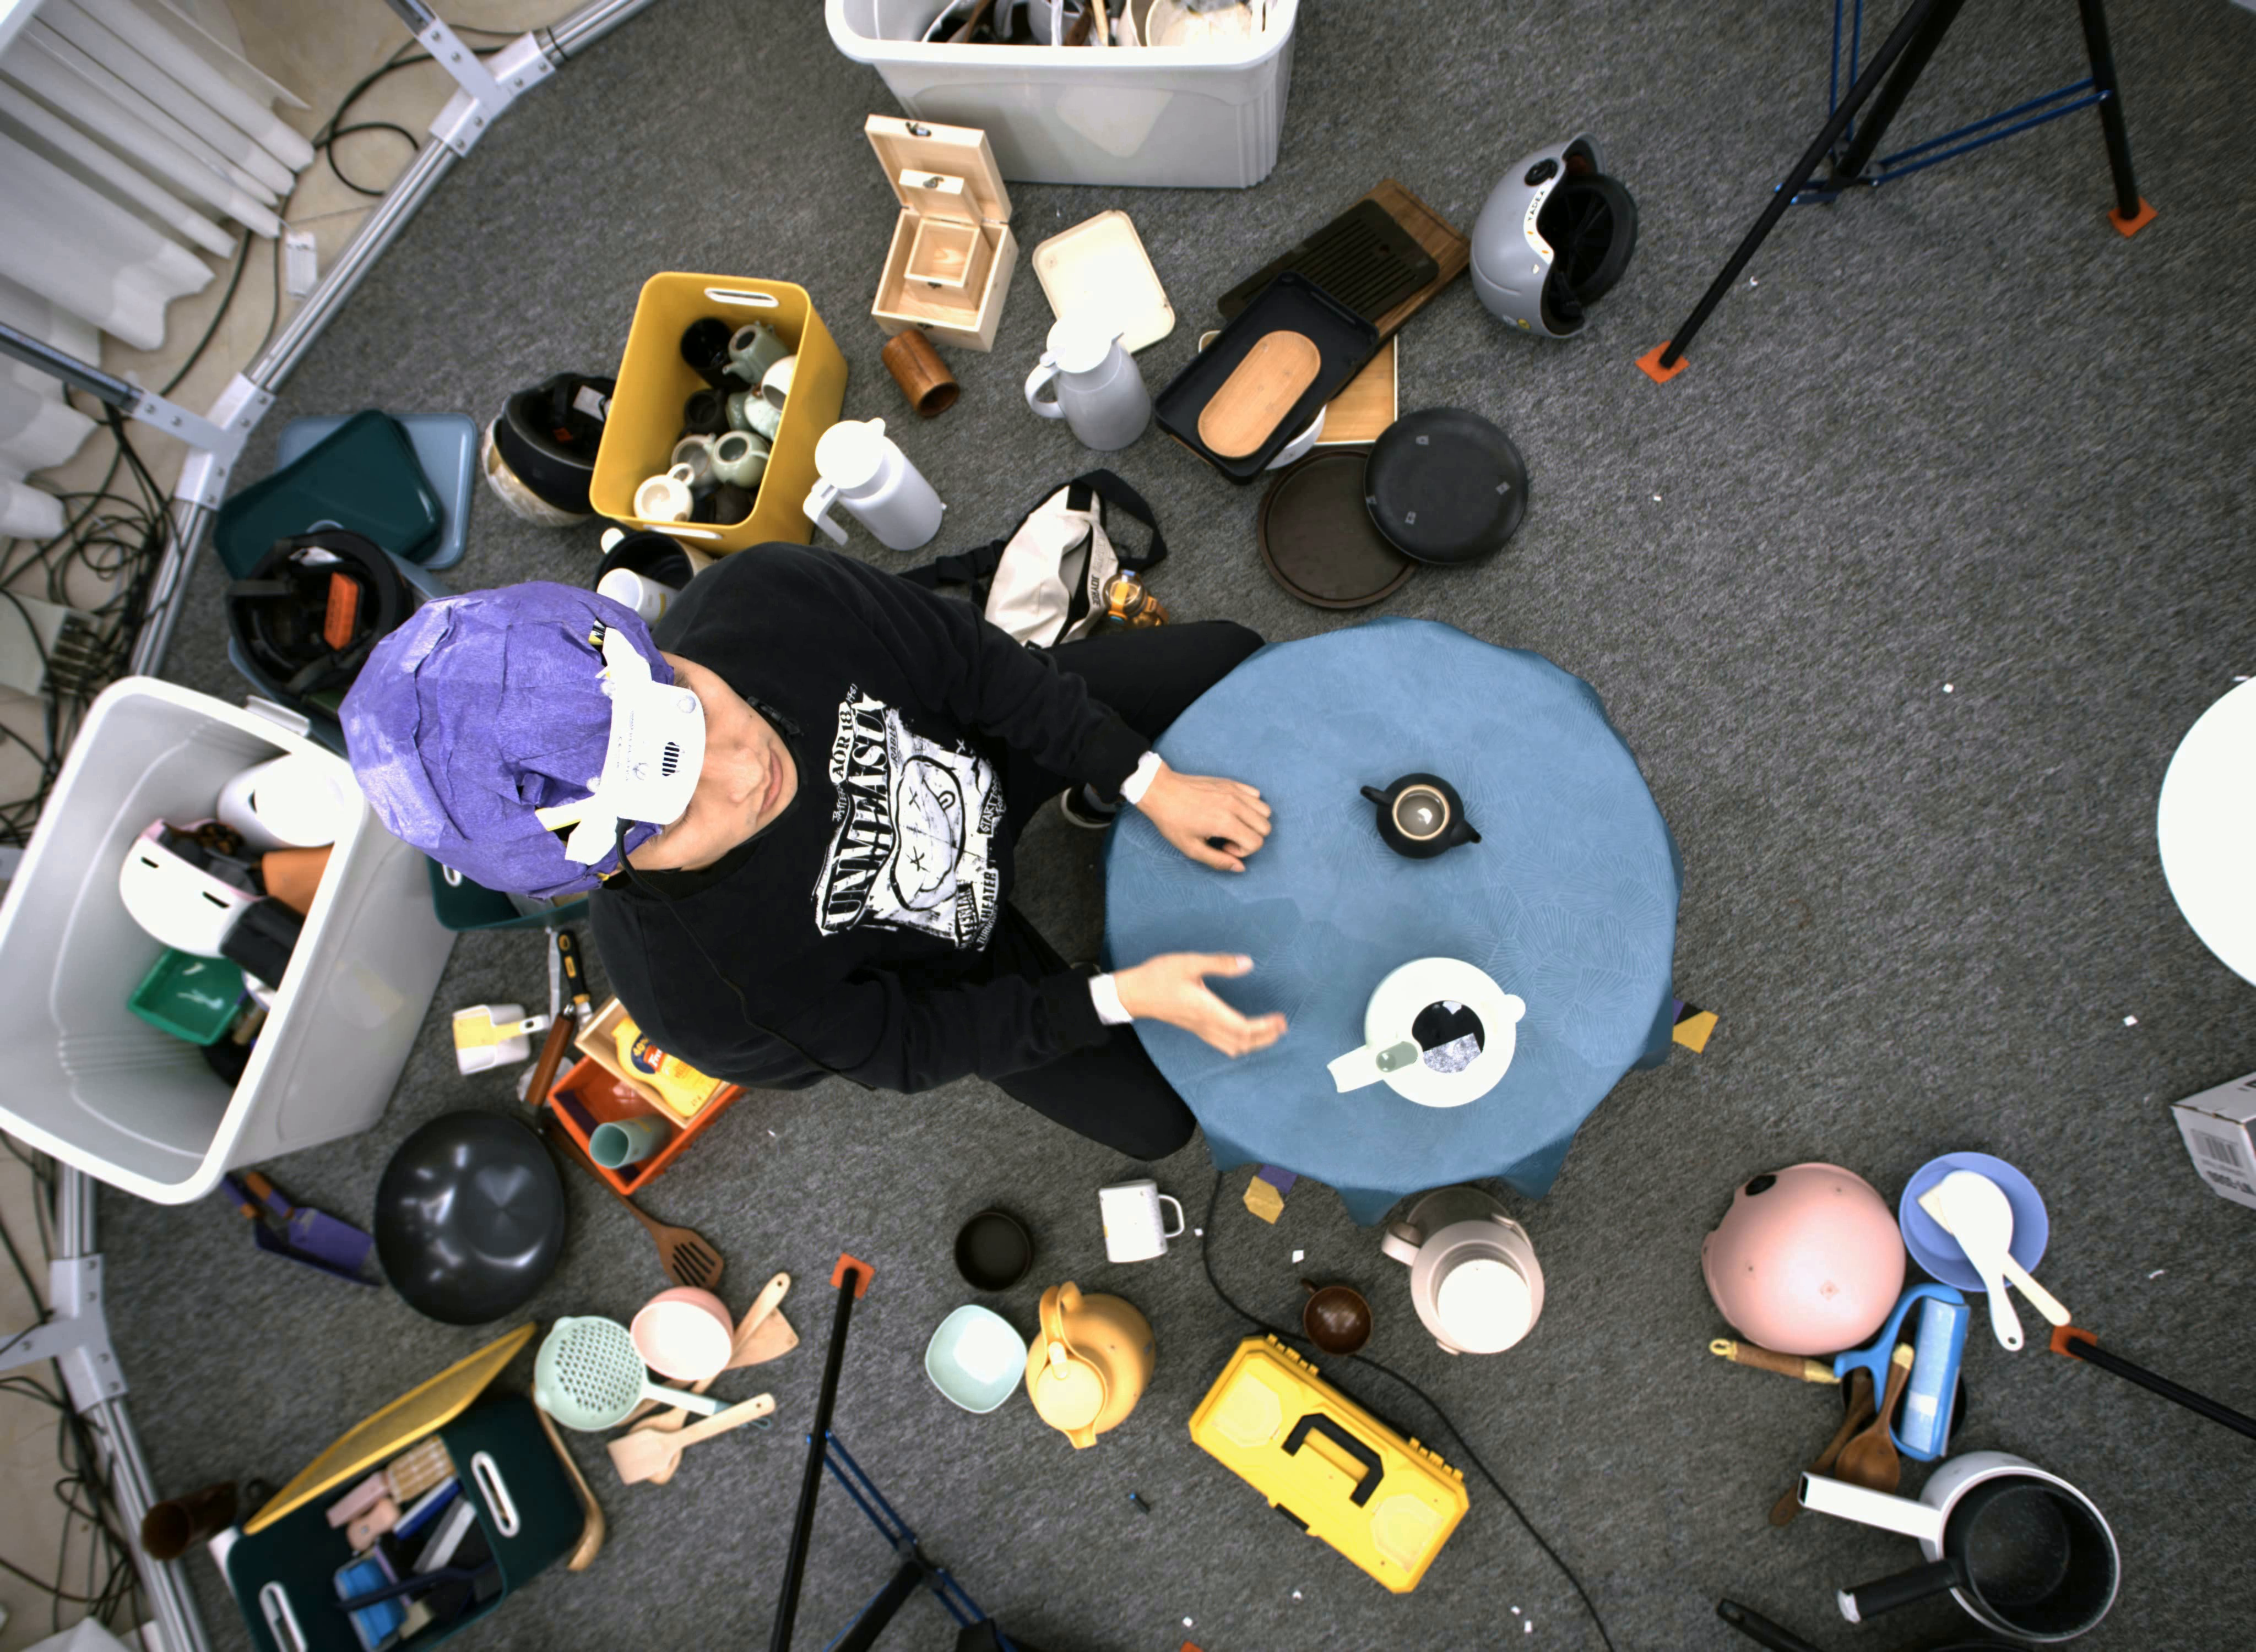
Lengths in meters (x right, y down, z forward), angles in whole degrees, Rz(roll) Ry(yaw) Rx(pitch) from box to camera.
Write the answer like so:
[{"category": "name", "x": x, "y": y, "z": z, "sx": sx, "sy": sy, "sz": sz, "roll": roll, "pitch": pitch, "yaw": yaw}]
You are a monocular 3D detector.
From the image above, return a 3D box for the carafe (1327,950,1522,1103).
[{"category": "carafe", "x": 0.285, "y": 0.198, "z": 1.326, "sx": 0.188, "sy": 0.256, "sz": 0.143, "roll": -24, "pitch": 83, "yaw": 11}]

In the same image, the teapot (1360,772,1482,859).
[{"category": "teapot", "x": 0.303, "y": -0.013, "z": 1.432, "sx": 0.133, "sy": 0.053, "sz": 0.091, "roll": 25, "pitch": 90, "yaw": 11}]
